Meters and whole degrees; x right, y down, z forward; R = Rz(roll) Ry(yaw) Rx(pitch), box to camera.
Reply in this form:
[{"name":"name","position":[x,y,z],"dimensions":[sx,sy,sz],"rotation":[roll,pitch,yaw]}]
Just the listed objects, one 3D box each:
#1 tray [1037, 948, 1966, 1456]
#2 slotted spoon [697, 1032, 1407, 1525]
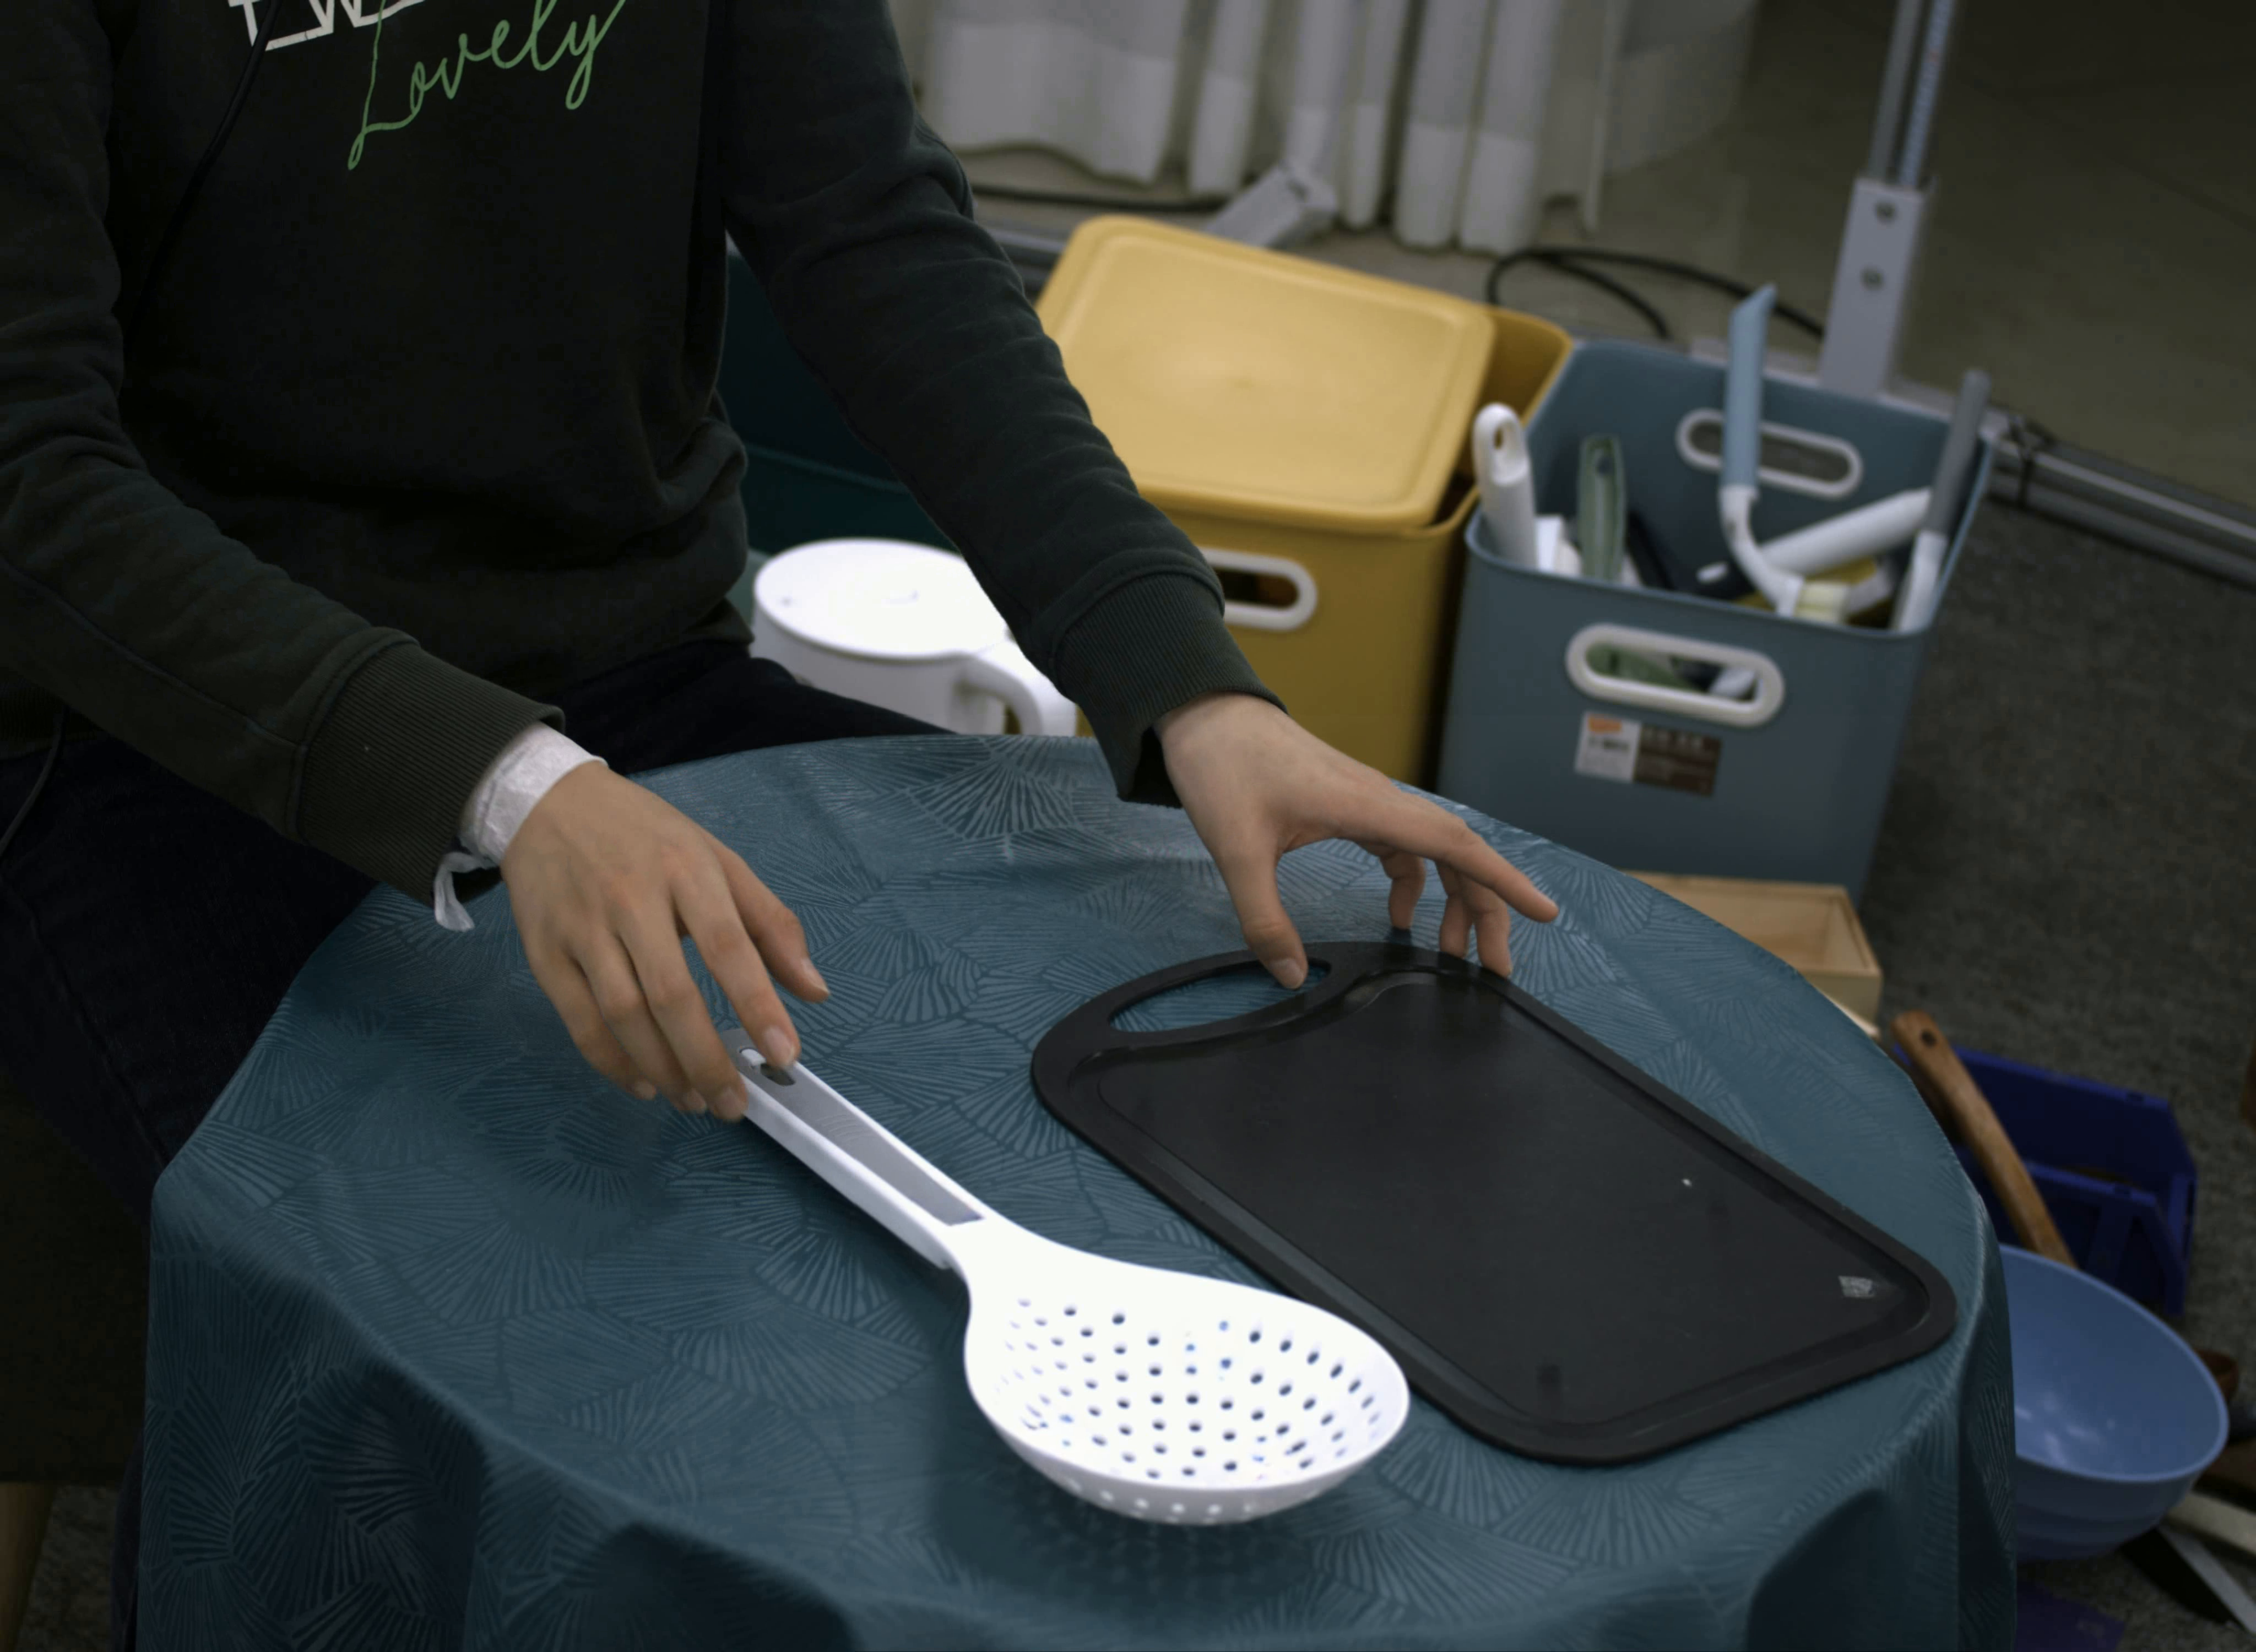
[{"name":"tray","position":[0.118,0.119,1.828],"dimensions":[0.210,0.010,0.328],"rotation":[-14,33,-35]},{"name":"slotted spoon","position":[-0.043,0.139,1.710],"dimensions":[0.135,0.045,0.353],"rotation":[-9,30,-33]}]
